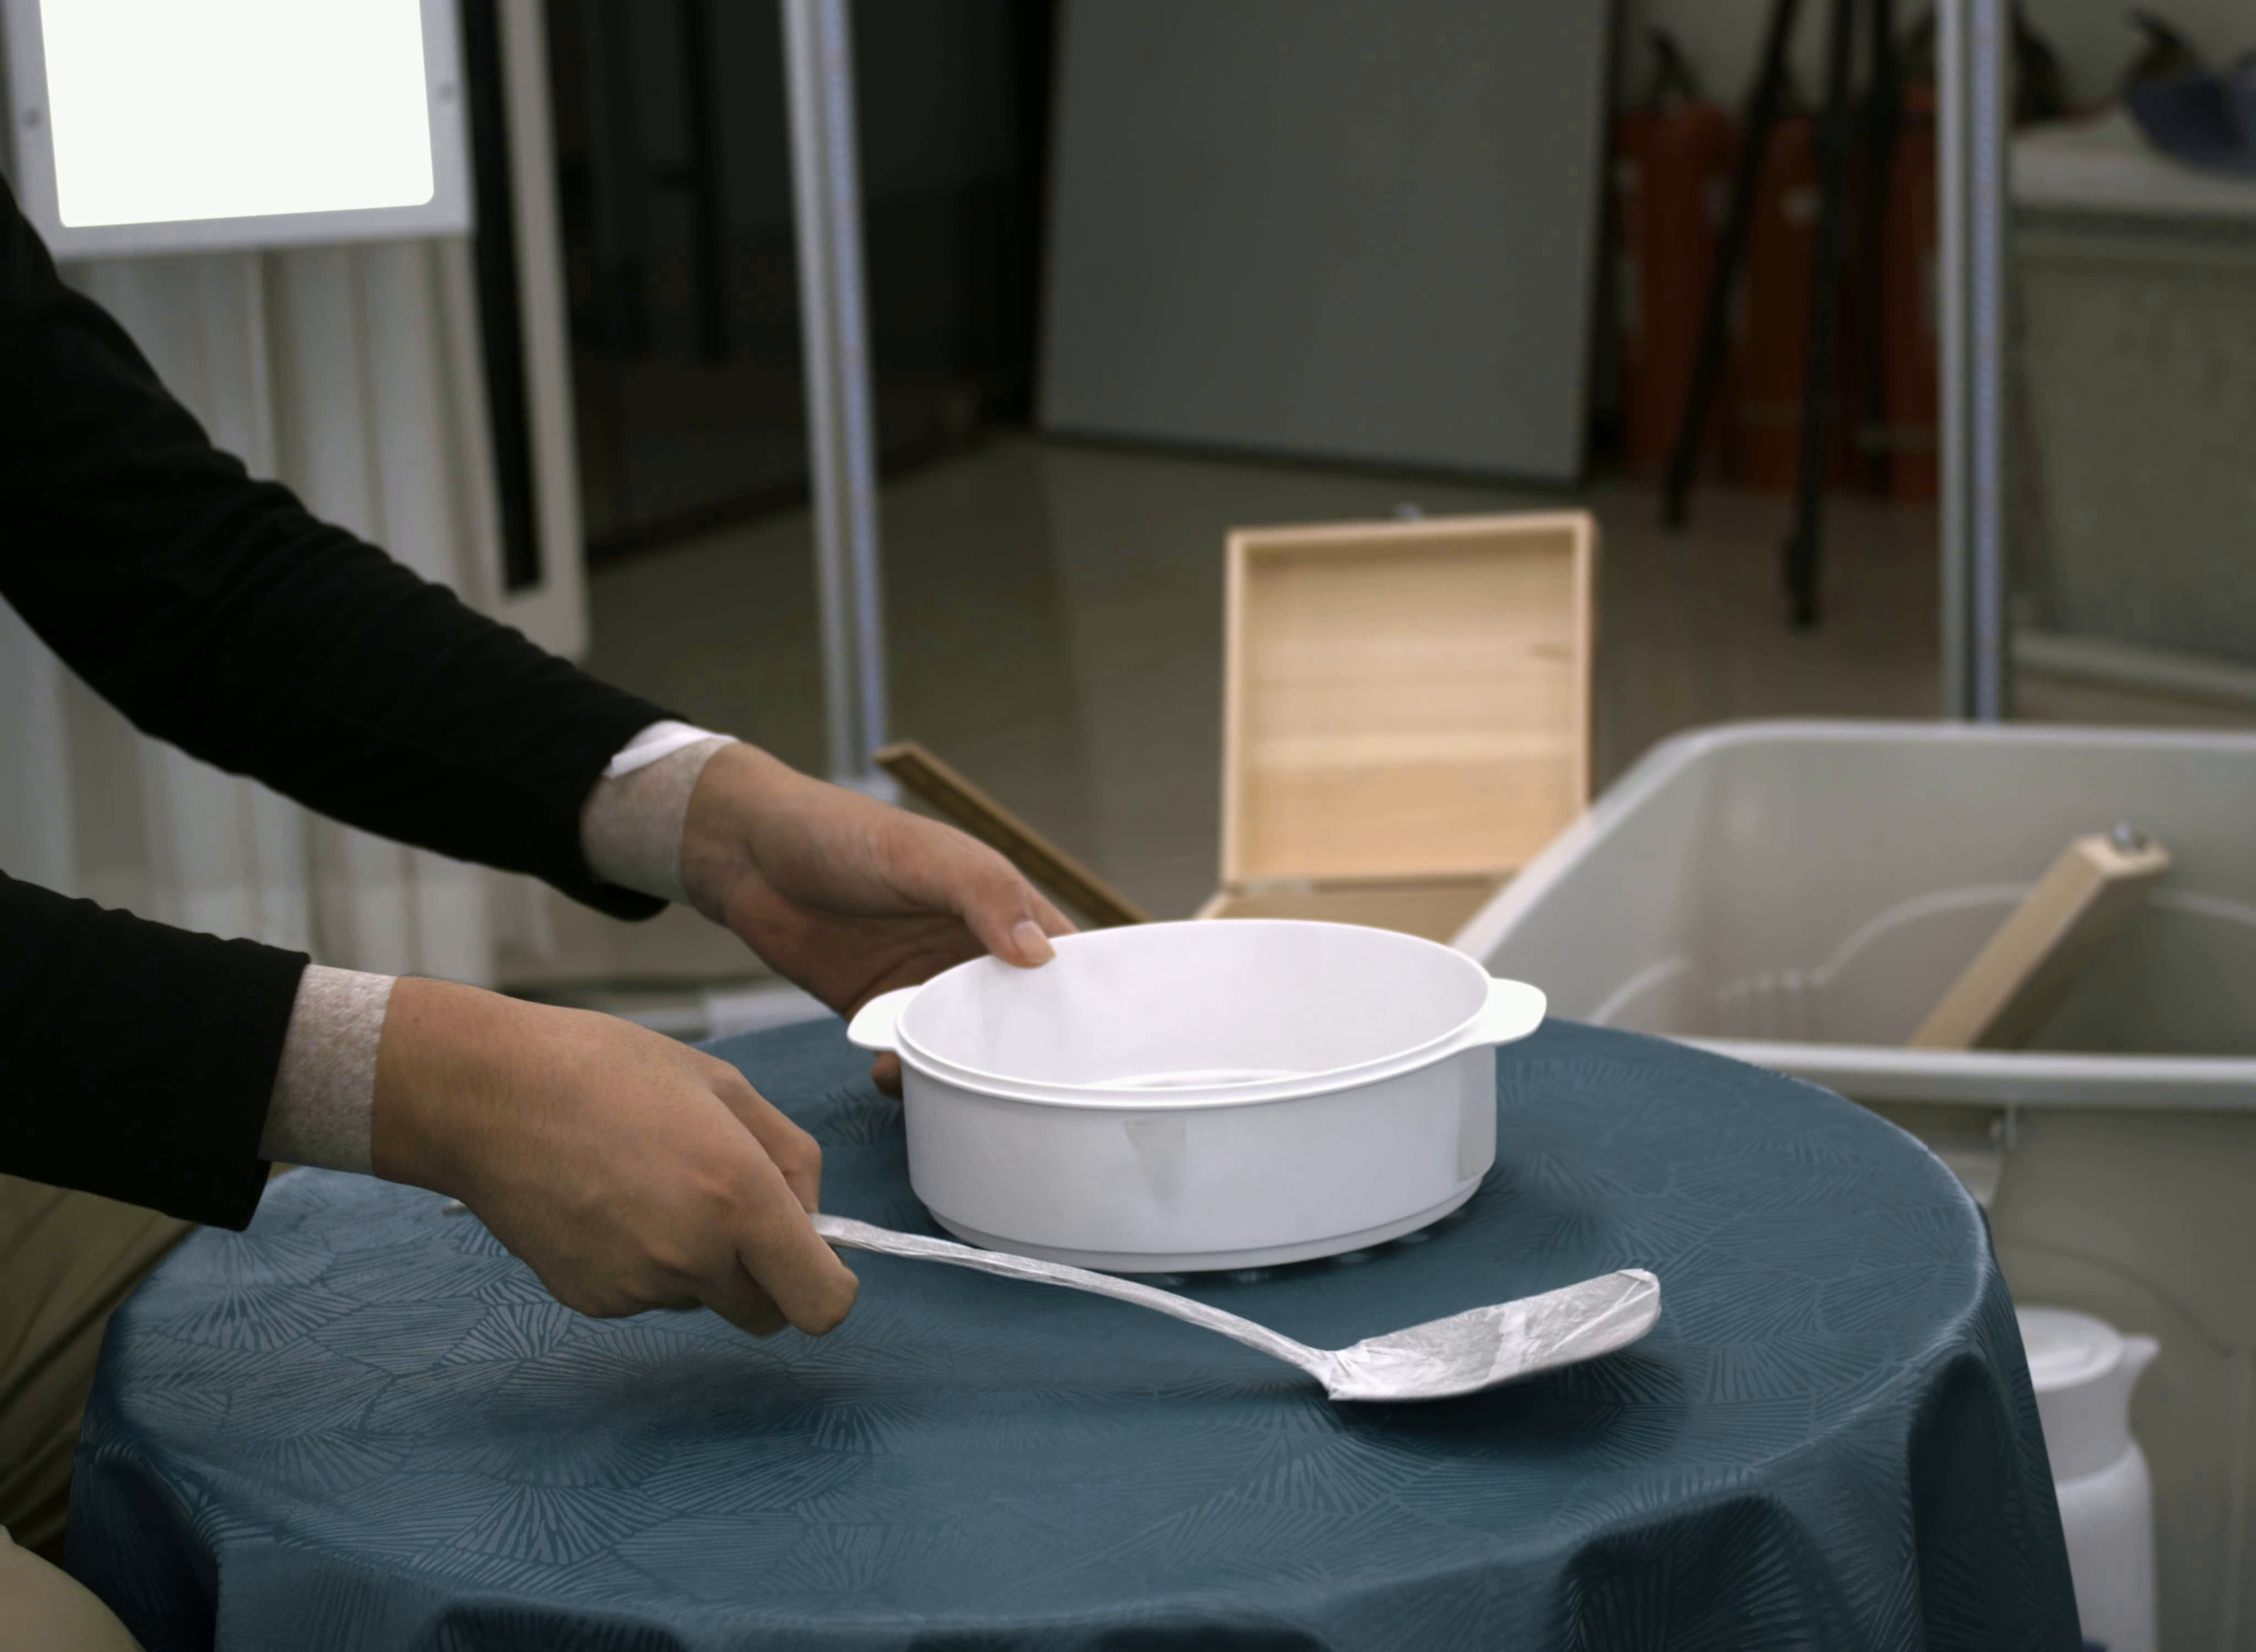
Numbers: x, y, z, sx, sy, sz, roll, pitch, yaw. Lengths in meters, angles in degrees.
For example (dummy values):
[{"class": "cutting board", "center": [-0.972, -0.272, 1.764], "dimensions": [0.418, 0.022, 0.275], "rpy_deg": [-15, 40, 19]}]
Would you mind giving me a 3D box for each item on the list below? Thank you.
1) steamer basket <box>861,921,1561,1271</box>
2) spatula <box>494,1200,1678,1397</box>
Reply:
[{"class": "steamer basket", "center": [0.029, 0.087, 1.752], "dimensions": [0.229, 0.070, 0.201], "rpy_deg": [-2, 13, 12]}, {"class": "spatula", "center": [-0.019, 0.129, 1.593], "dimensions": [0.363, 0.045, 0.098], "rpy_deg": [9, 11, 13]}]
